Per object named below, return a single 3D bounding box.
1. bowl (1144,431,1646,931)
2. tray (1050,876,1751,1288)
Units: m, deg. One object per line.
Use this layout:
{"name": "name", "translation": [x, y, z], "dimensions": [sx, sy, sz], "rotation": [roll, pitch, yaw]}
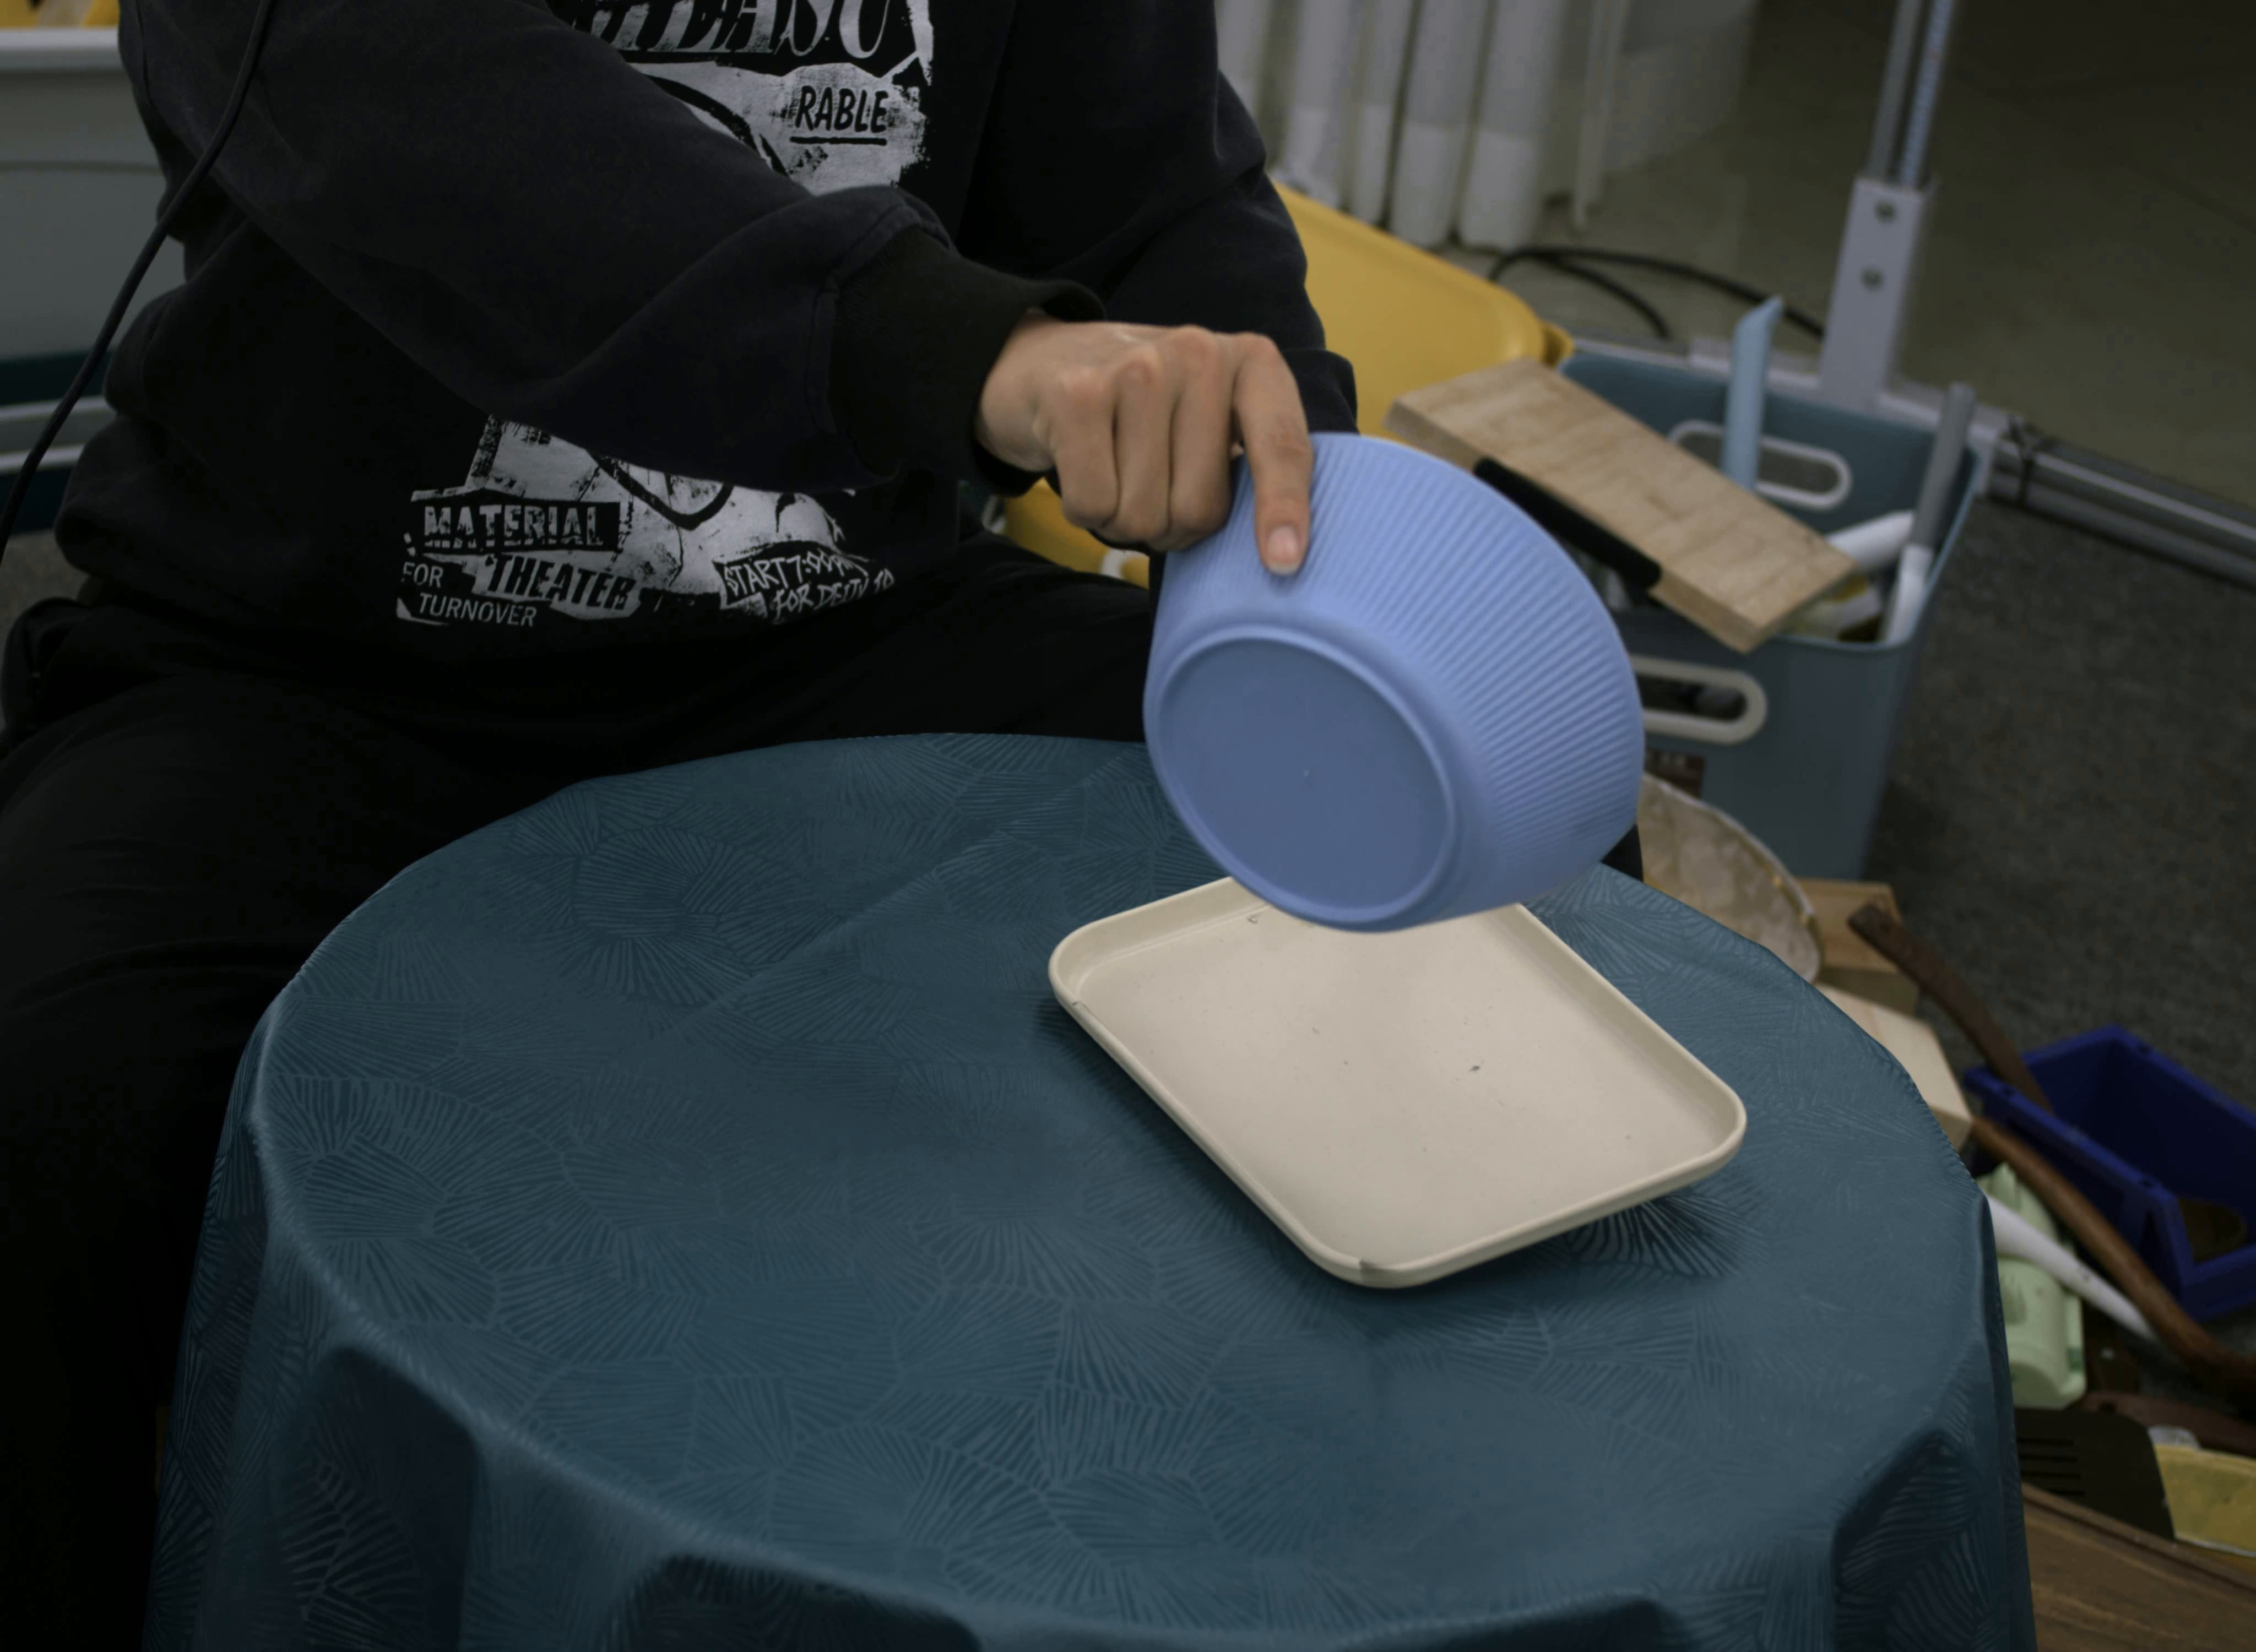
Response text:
{"name": "bowl", "translation": [0.071, -0.033, 1.686], "dimensions": [0.177, 0.175, 0.070], "rotation": [20, 42, 24]}
{"name": "tray", "translation": [0.092, 0.080, 1.860], "dimensions": [0.170, 0.017, 0.242], "rotation": [-17, 35, -23]}
